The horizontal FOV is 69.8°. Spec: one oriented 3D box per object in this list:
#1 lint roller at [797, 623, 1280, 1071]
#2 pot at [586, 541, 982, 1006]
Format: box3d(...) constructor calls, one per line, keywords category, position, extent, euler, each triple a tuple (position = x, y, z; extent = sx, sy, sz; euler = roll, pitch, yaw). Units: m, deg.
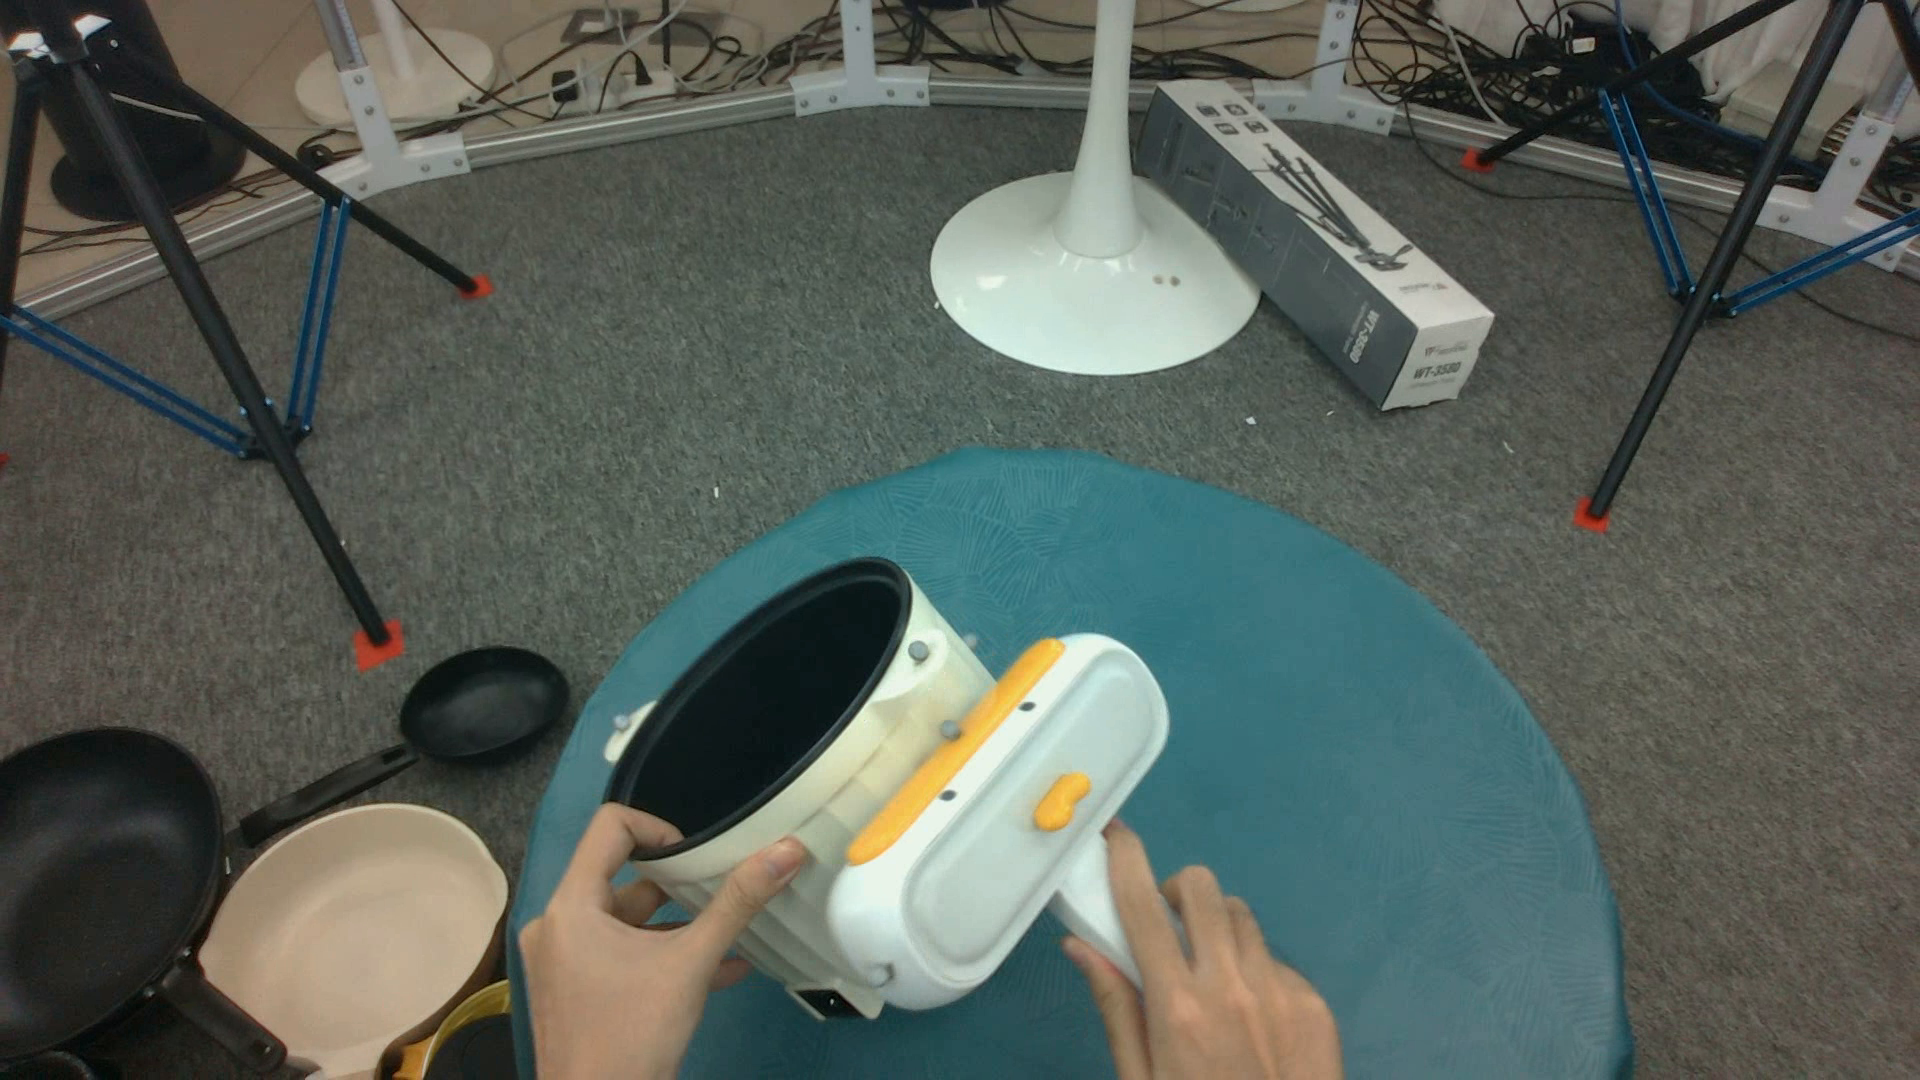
box3d(category="lint roller", position=(0.052, 0.149, 0.575), extent=(0.192, 0.074, 0.194), euler=(48, 48, -7))
box3d(category="pot", position=(-0.063, 0.108, 0.667), extent=(0.239, 0.142, 0.191), euler=(-16, 36, 39))
